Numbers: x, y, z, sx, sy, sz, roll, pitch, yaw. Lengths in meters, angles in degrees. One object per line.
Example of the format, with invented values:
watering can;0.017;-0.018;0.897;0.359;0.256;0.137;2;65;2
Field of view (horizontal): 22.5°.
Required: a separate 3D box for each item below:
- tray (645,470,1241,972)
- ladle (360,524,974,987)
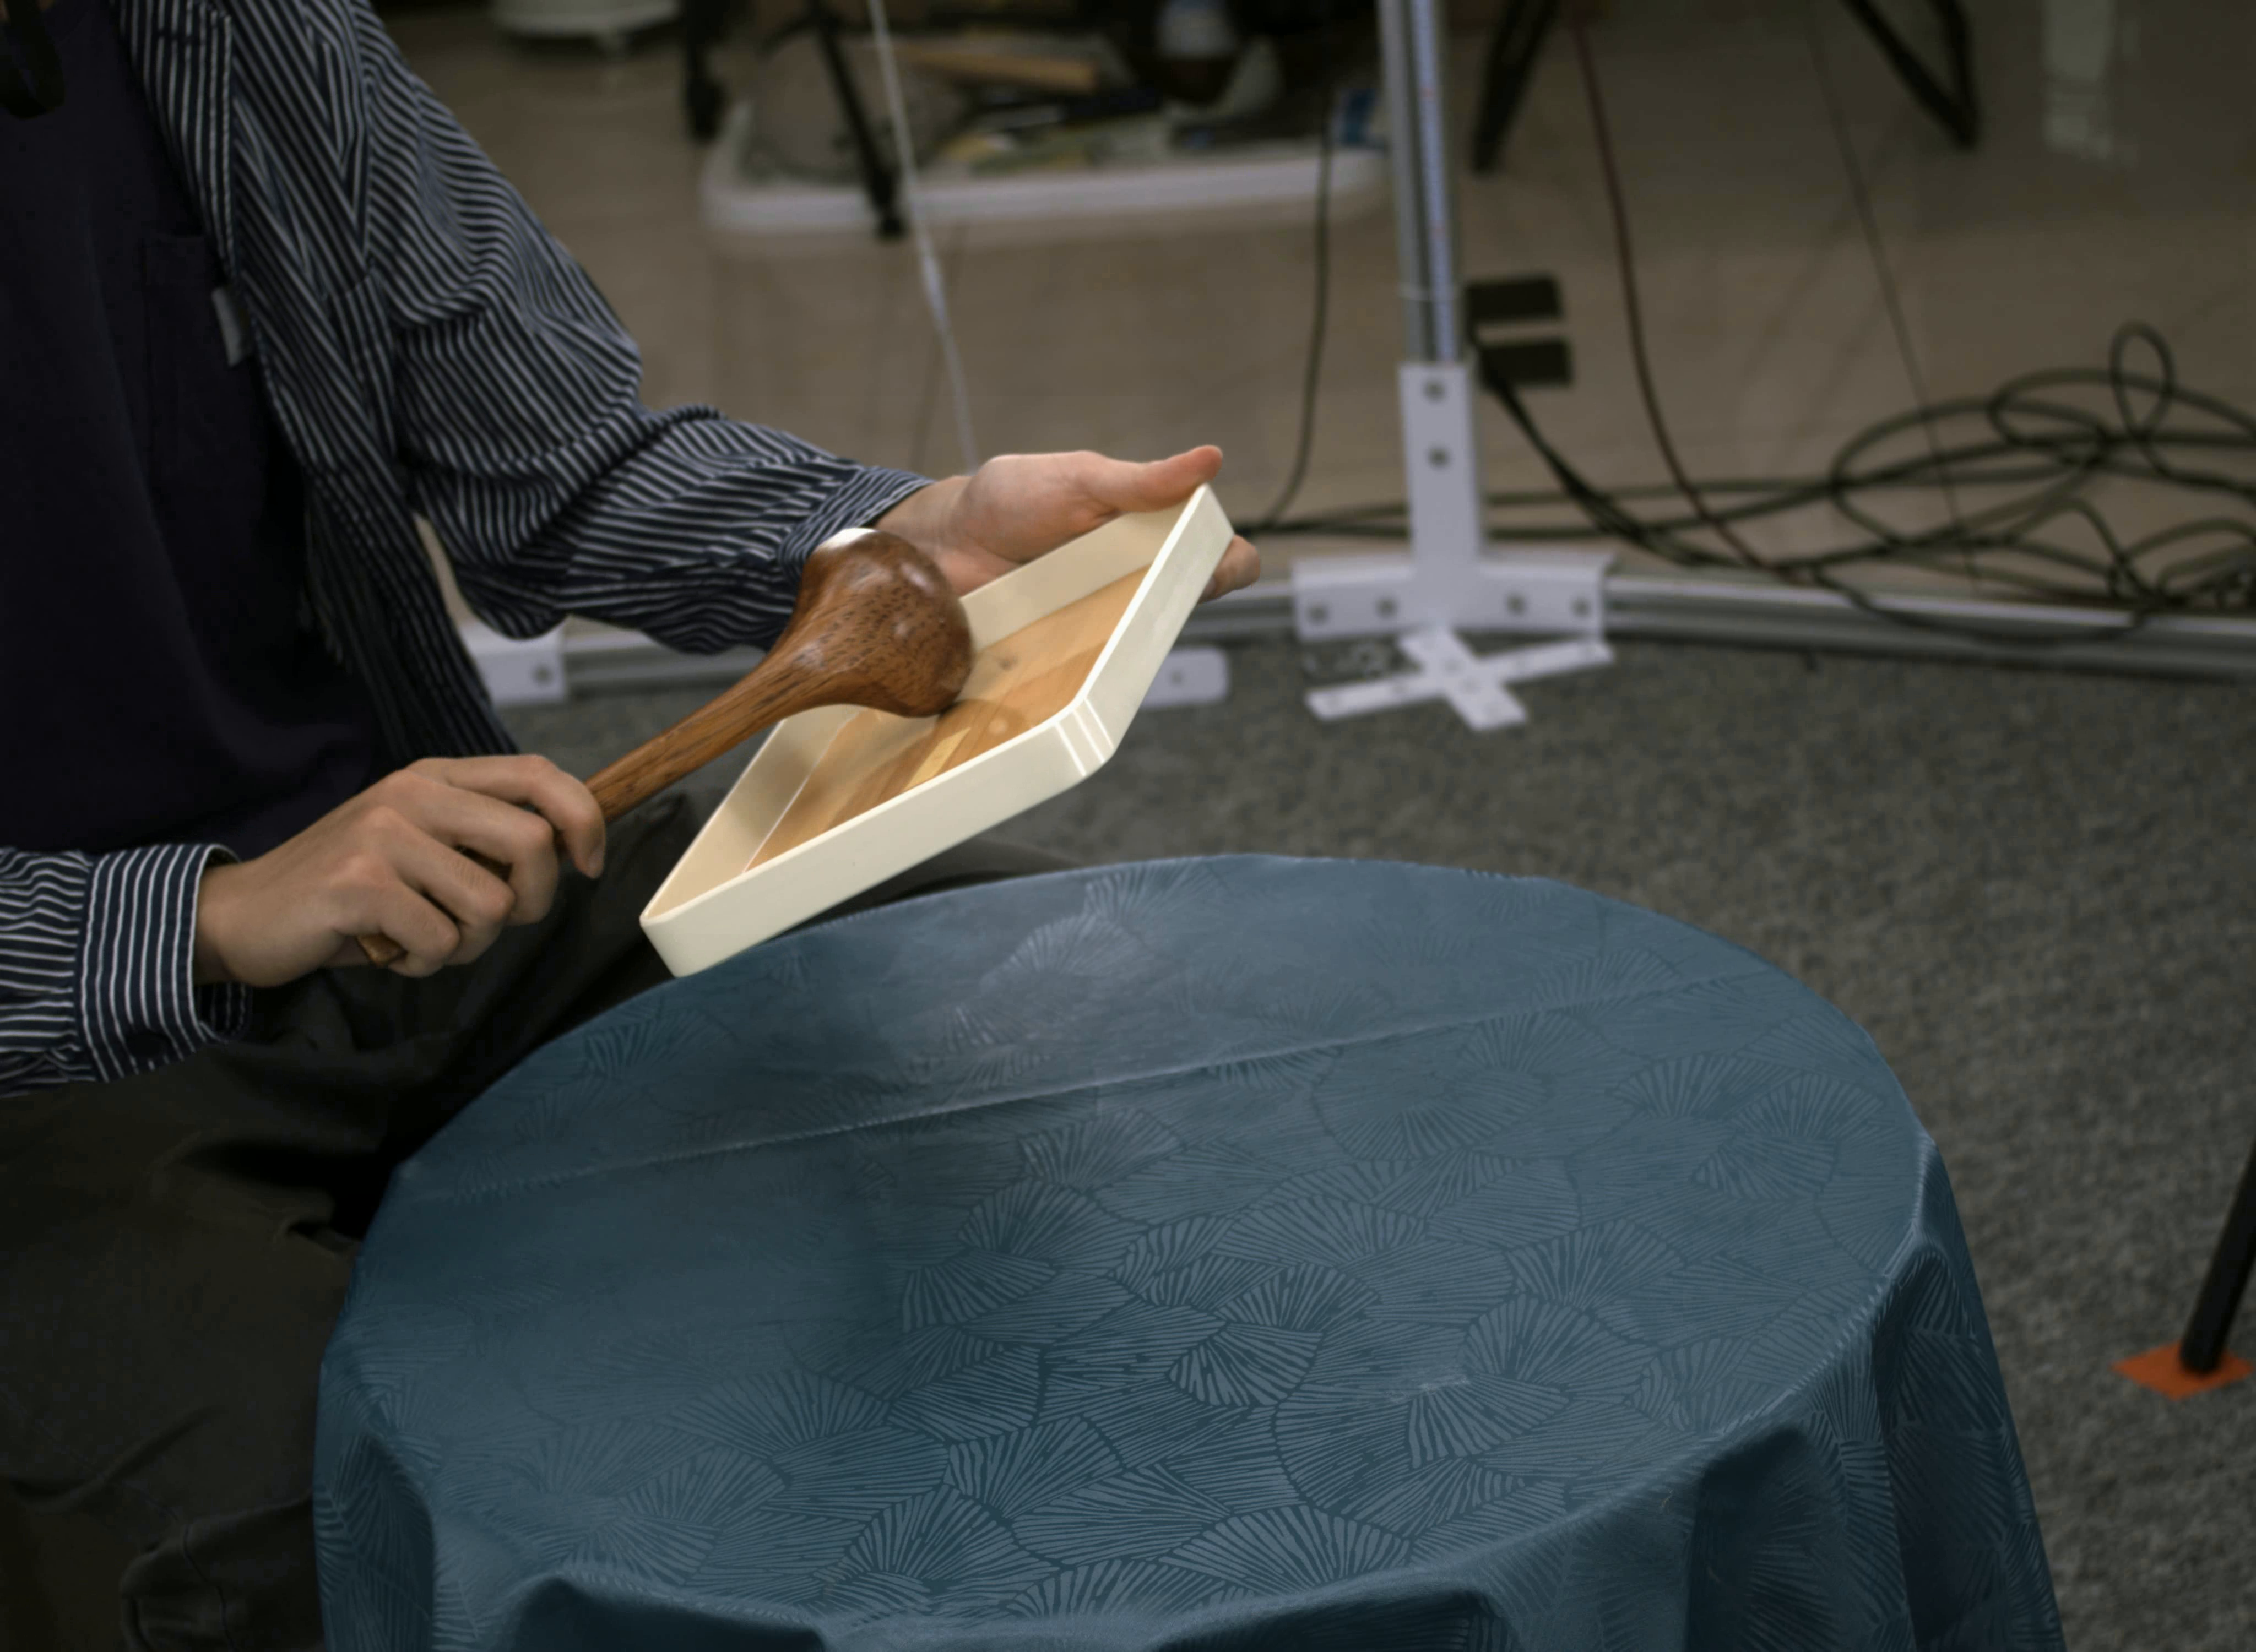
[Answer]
tray;-0.065;-0.044;2.146;0.192;0.027;0.296;-26;14;20
ladle;-0.179;-0.023;2.174;0.273;0.082;0.077;-35;-5;-9
